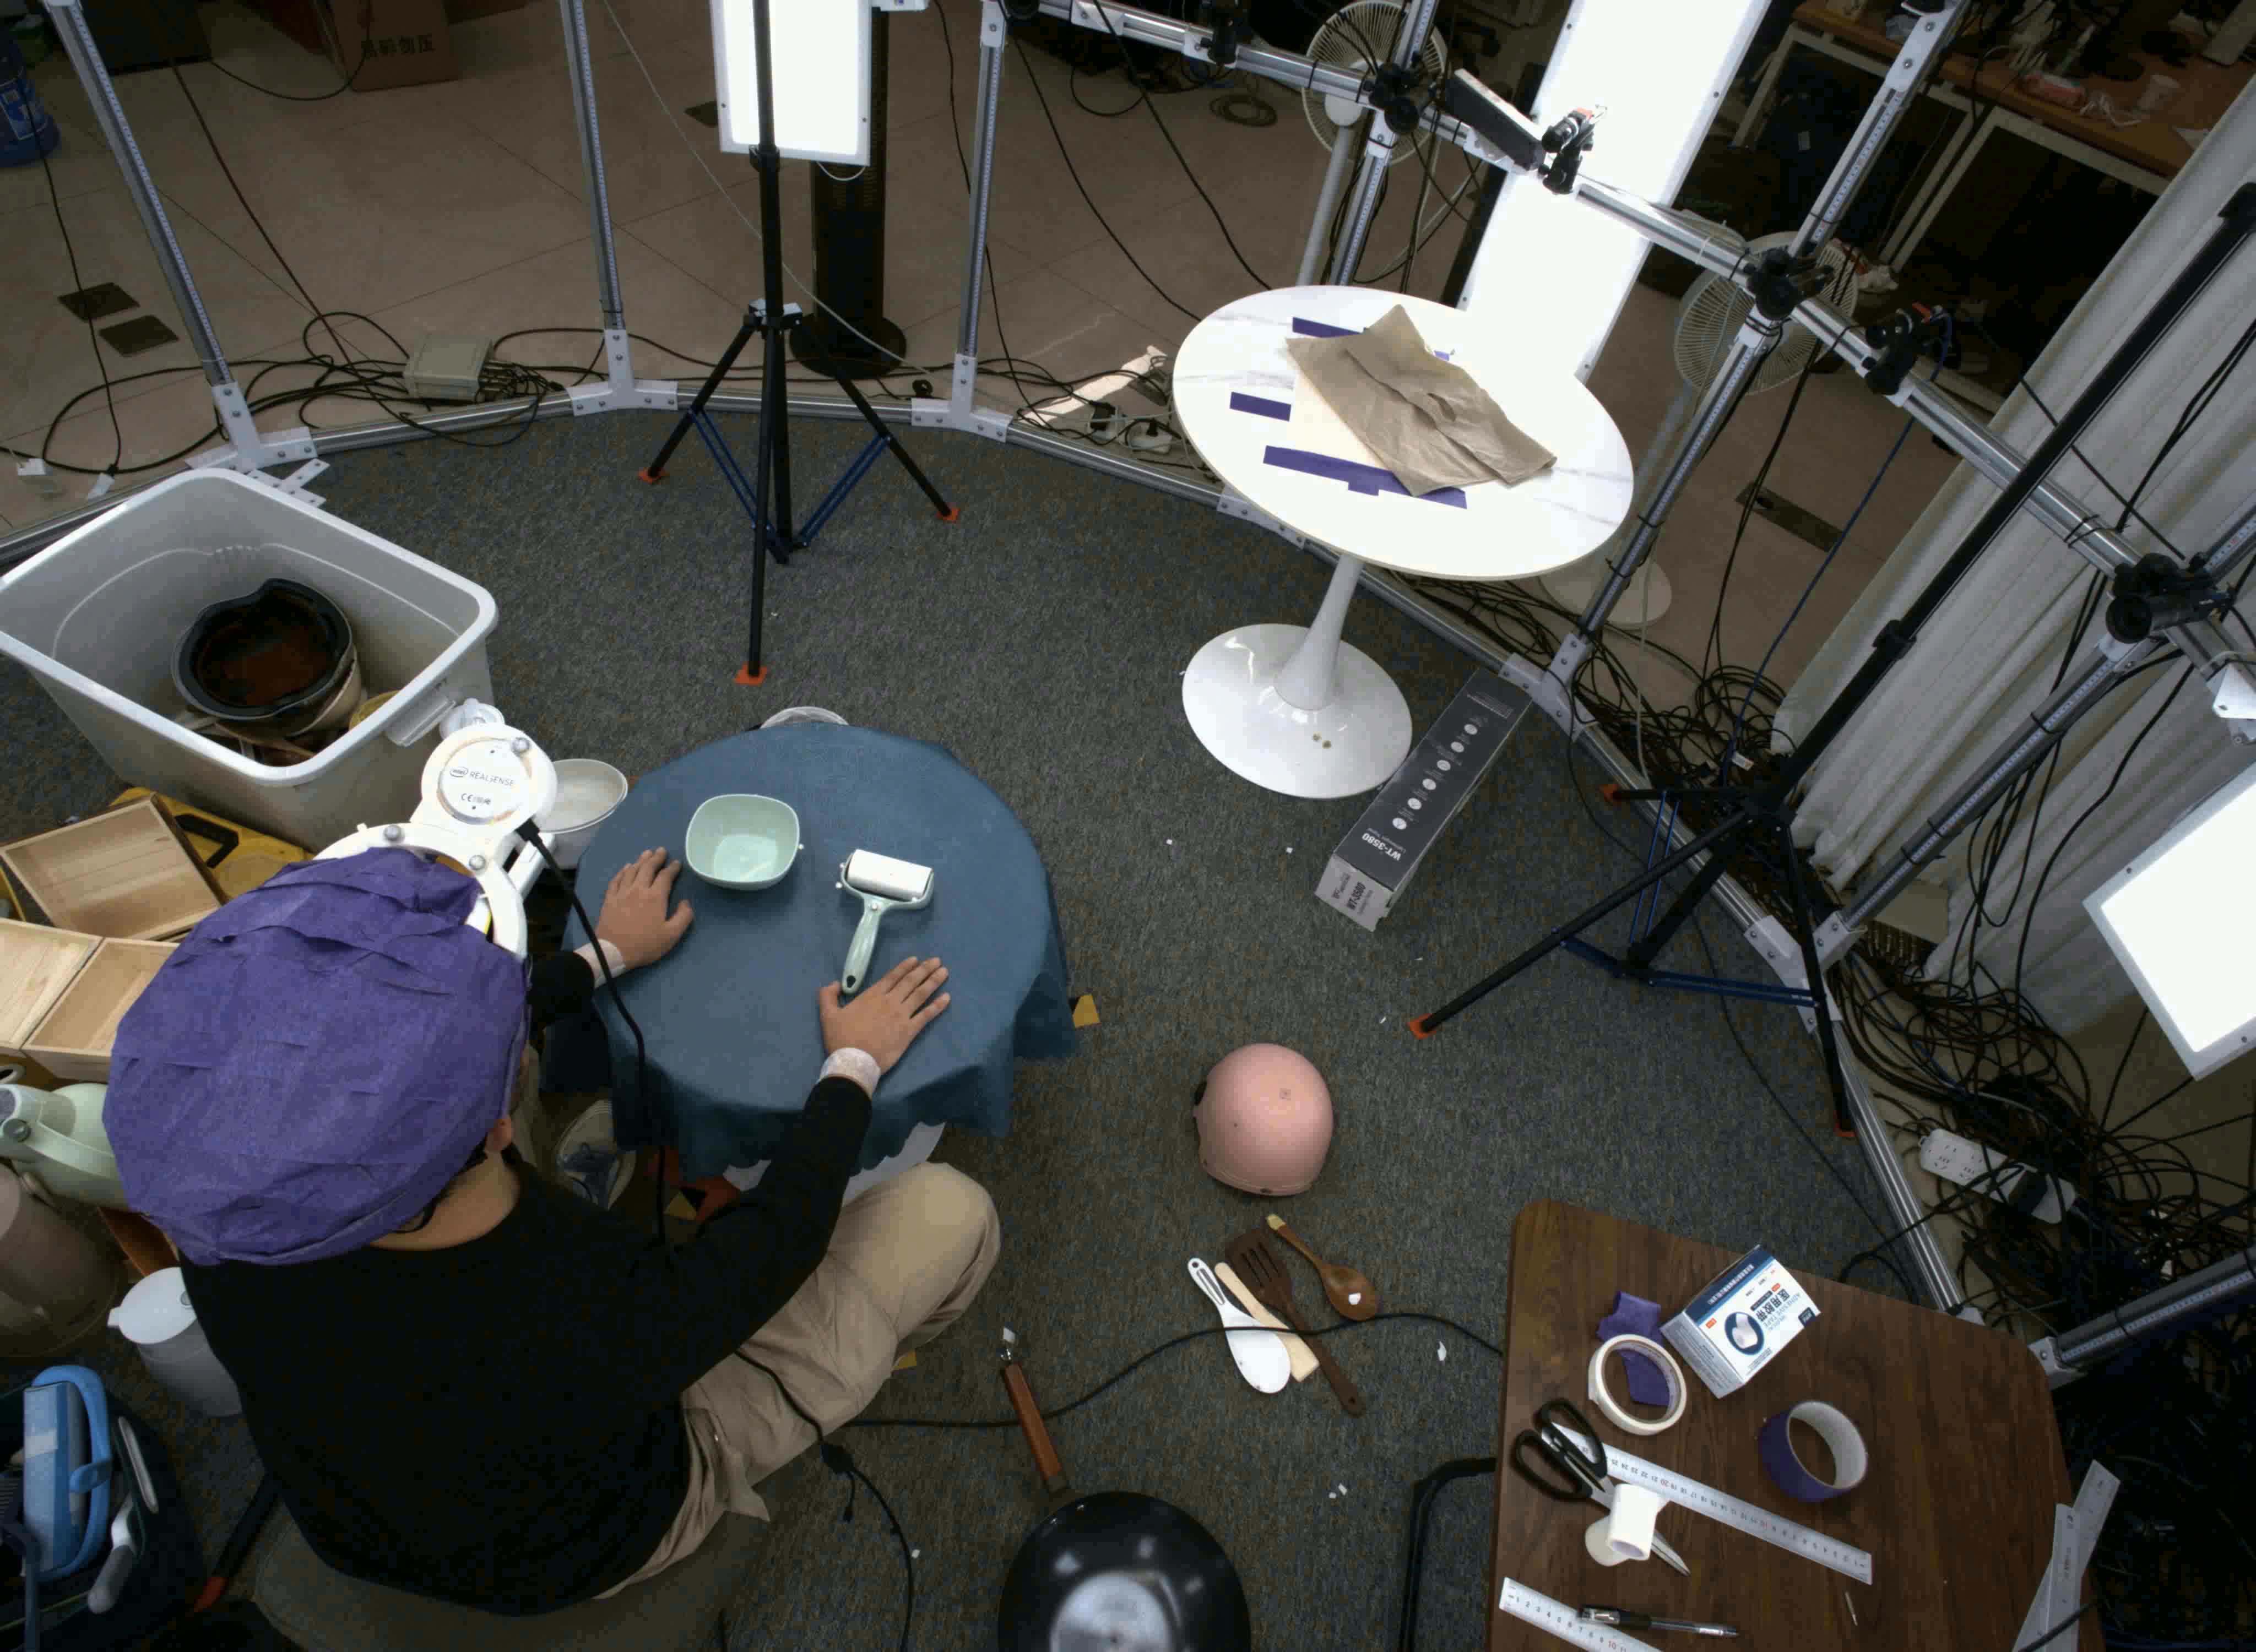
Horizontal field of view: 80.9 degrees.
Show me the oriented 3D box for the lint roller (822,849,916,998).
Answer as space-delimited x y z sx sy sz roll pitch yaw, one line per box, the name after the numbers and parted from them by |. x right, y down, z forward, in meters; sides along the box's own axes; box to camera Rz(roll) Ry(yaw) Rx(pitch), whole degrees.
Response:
-0.341 0.119 1.623 0.116 0.049 0.195 14 53 -5 | lint roller

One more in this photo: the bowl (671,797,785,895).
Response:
-0.505 0.034 1.636 0.151 0.060 0.148 9 51 -9 | bowl
